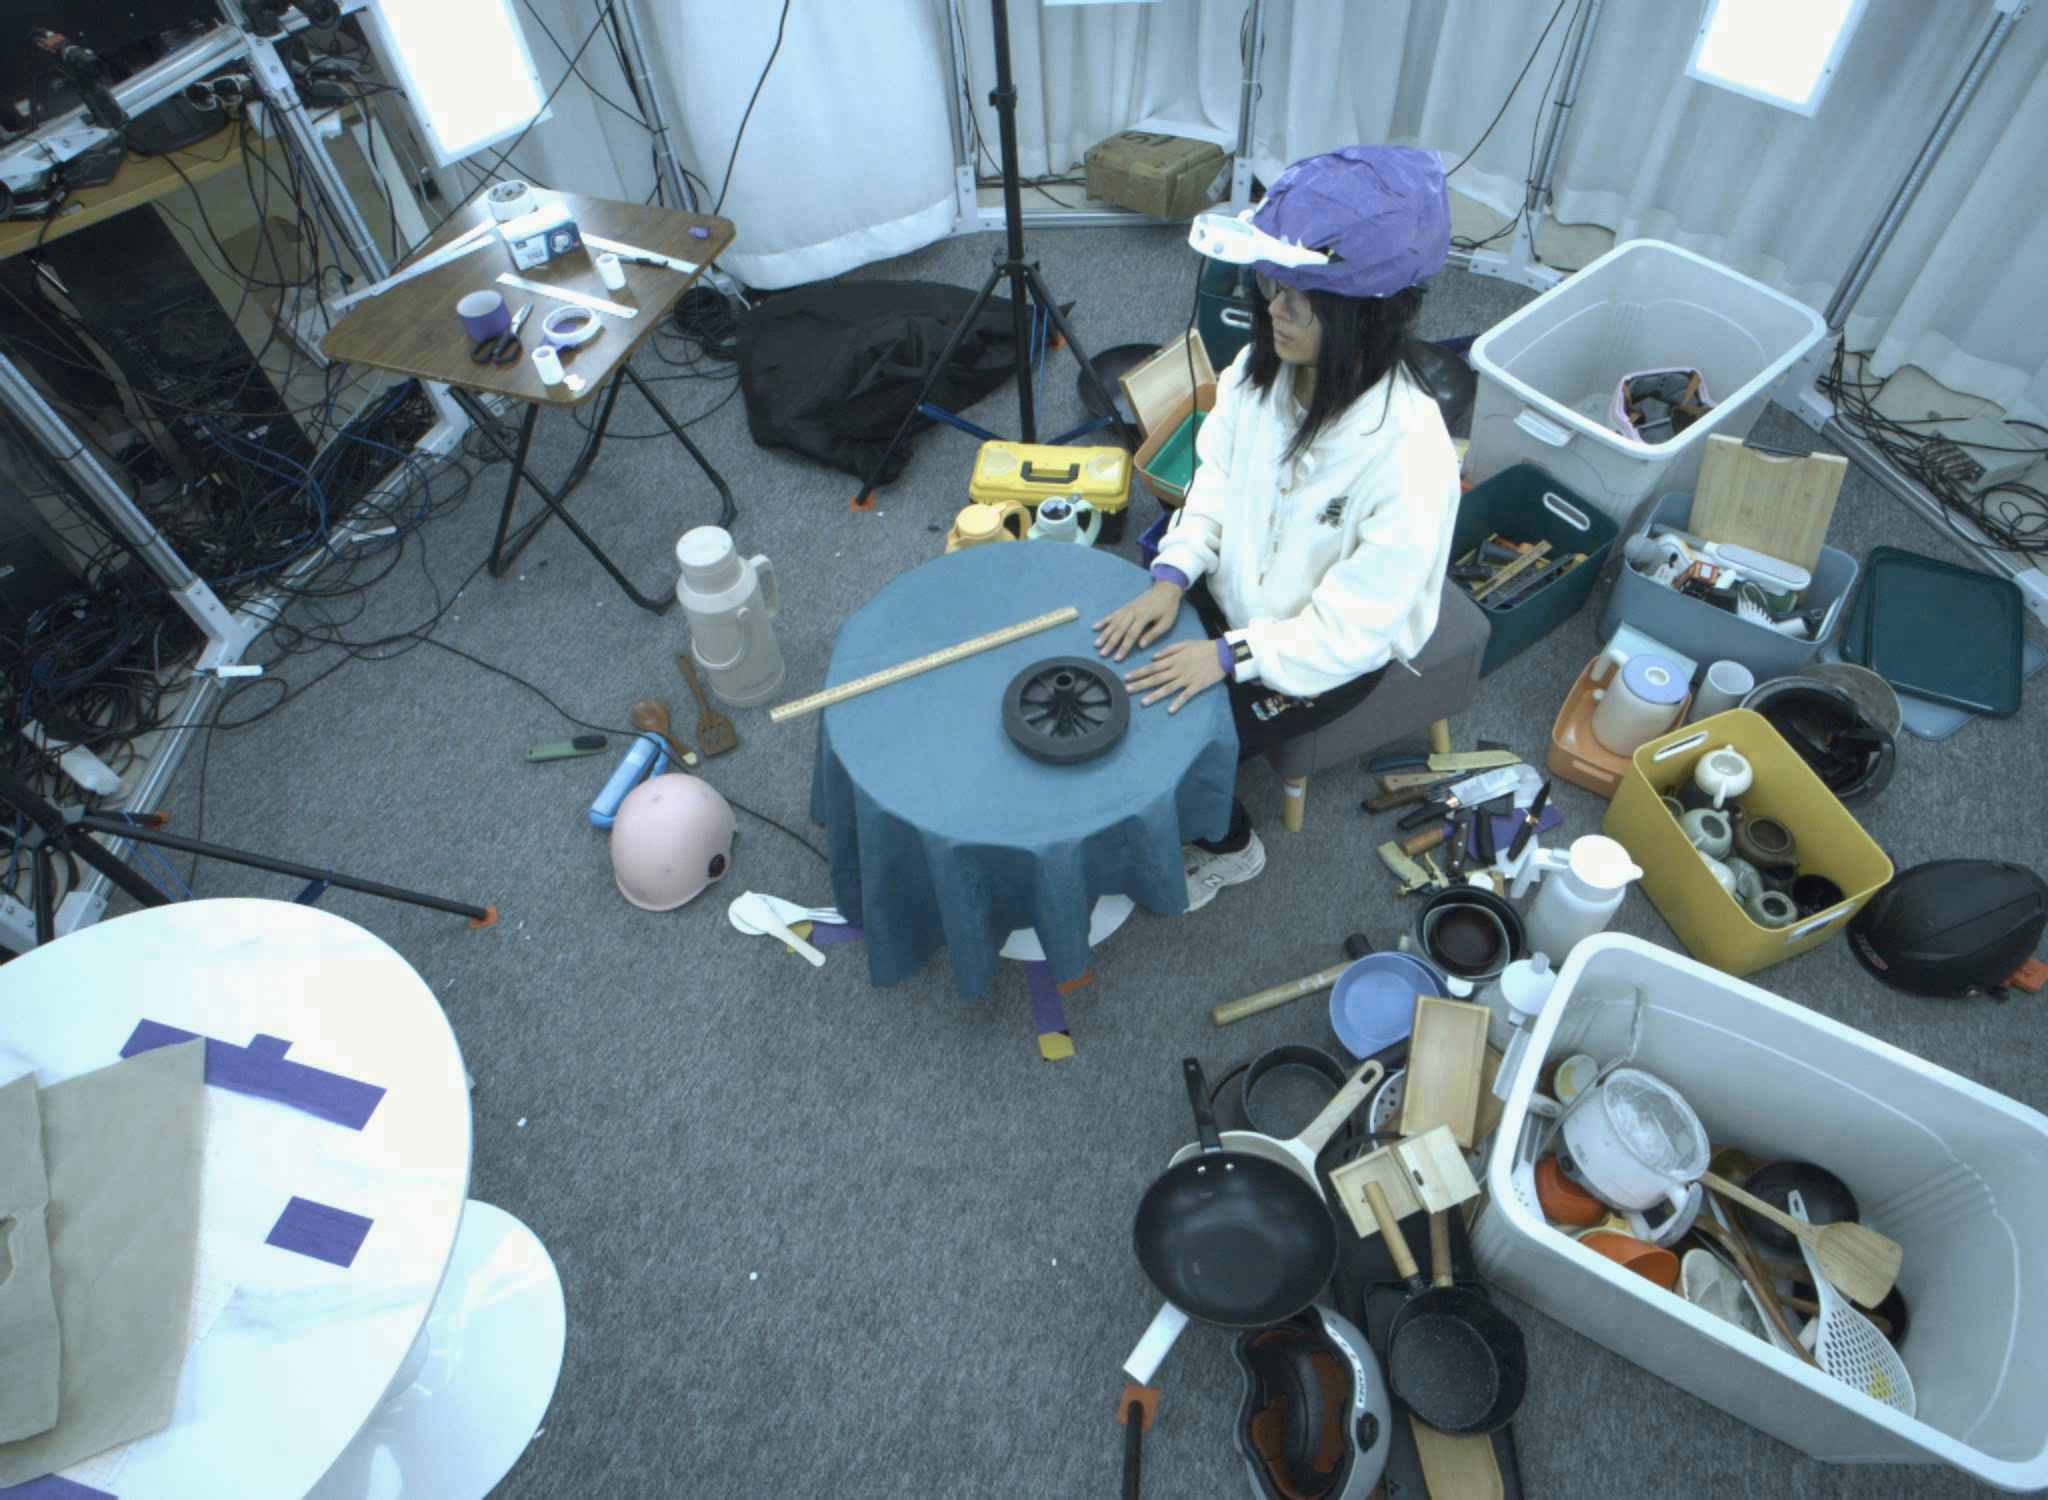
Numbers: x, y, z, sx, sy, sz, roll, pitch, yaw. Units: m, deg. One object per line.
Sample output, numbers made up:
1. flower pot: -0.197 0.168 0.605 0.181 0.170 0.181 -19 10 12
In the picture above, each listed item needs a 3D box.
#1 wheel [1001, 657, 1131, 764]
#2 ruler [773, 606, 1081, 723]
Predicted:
1. wheel: 0.060 -0.073 1.790 0.187 0.080 0.188 24 59 17
2. ruler: -0.147 -0.135 1.885 0.504 0.006 0.026 -20 55 -12
